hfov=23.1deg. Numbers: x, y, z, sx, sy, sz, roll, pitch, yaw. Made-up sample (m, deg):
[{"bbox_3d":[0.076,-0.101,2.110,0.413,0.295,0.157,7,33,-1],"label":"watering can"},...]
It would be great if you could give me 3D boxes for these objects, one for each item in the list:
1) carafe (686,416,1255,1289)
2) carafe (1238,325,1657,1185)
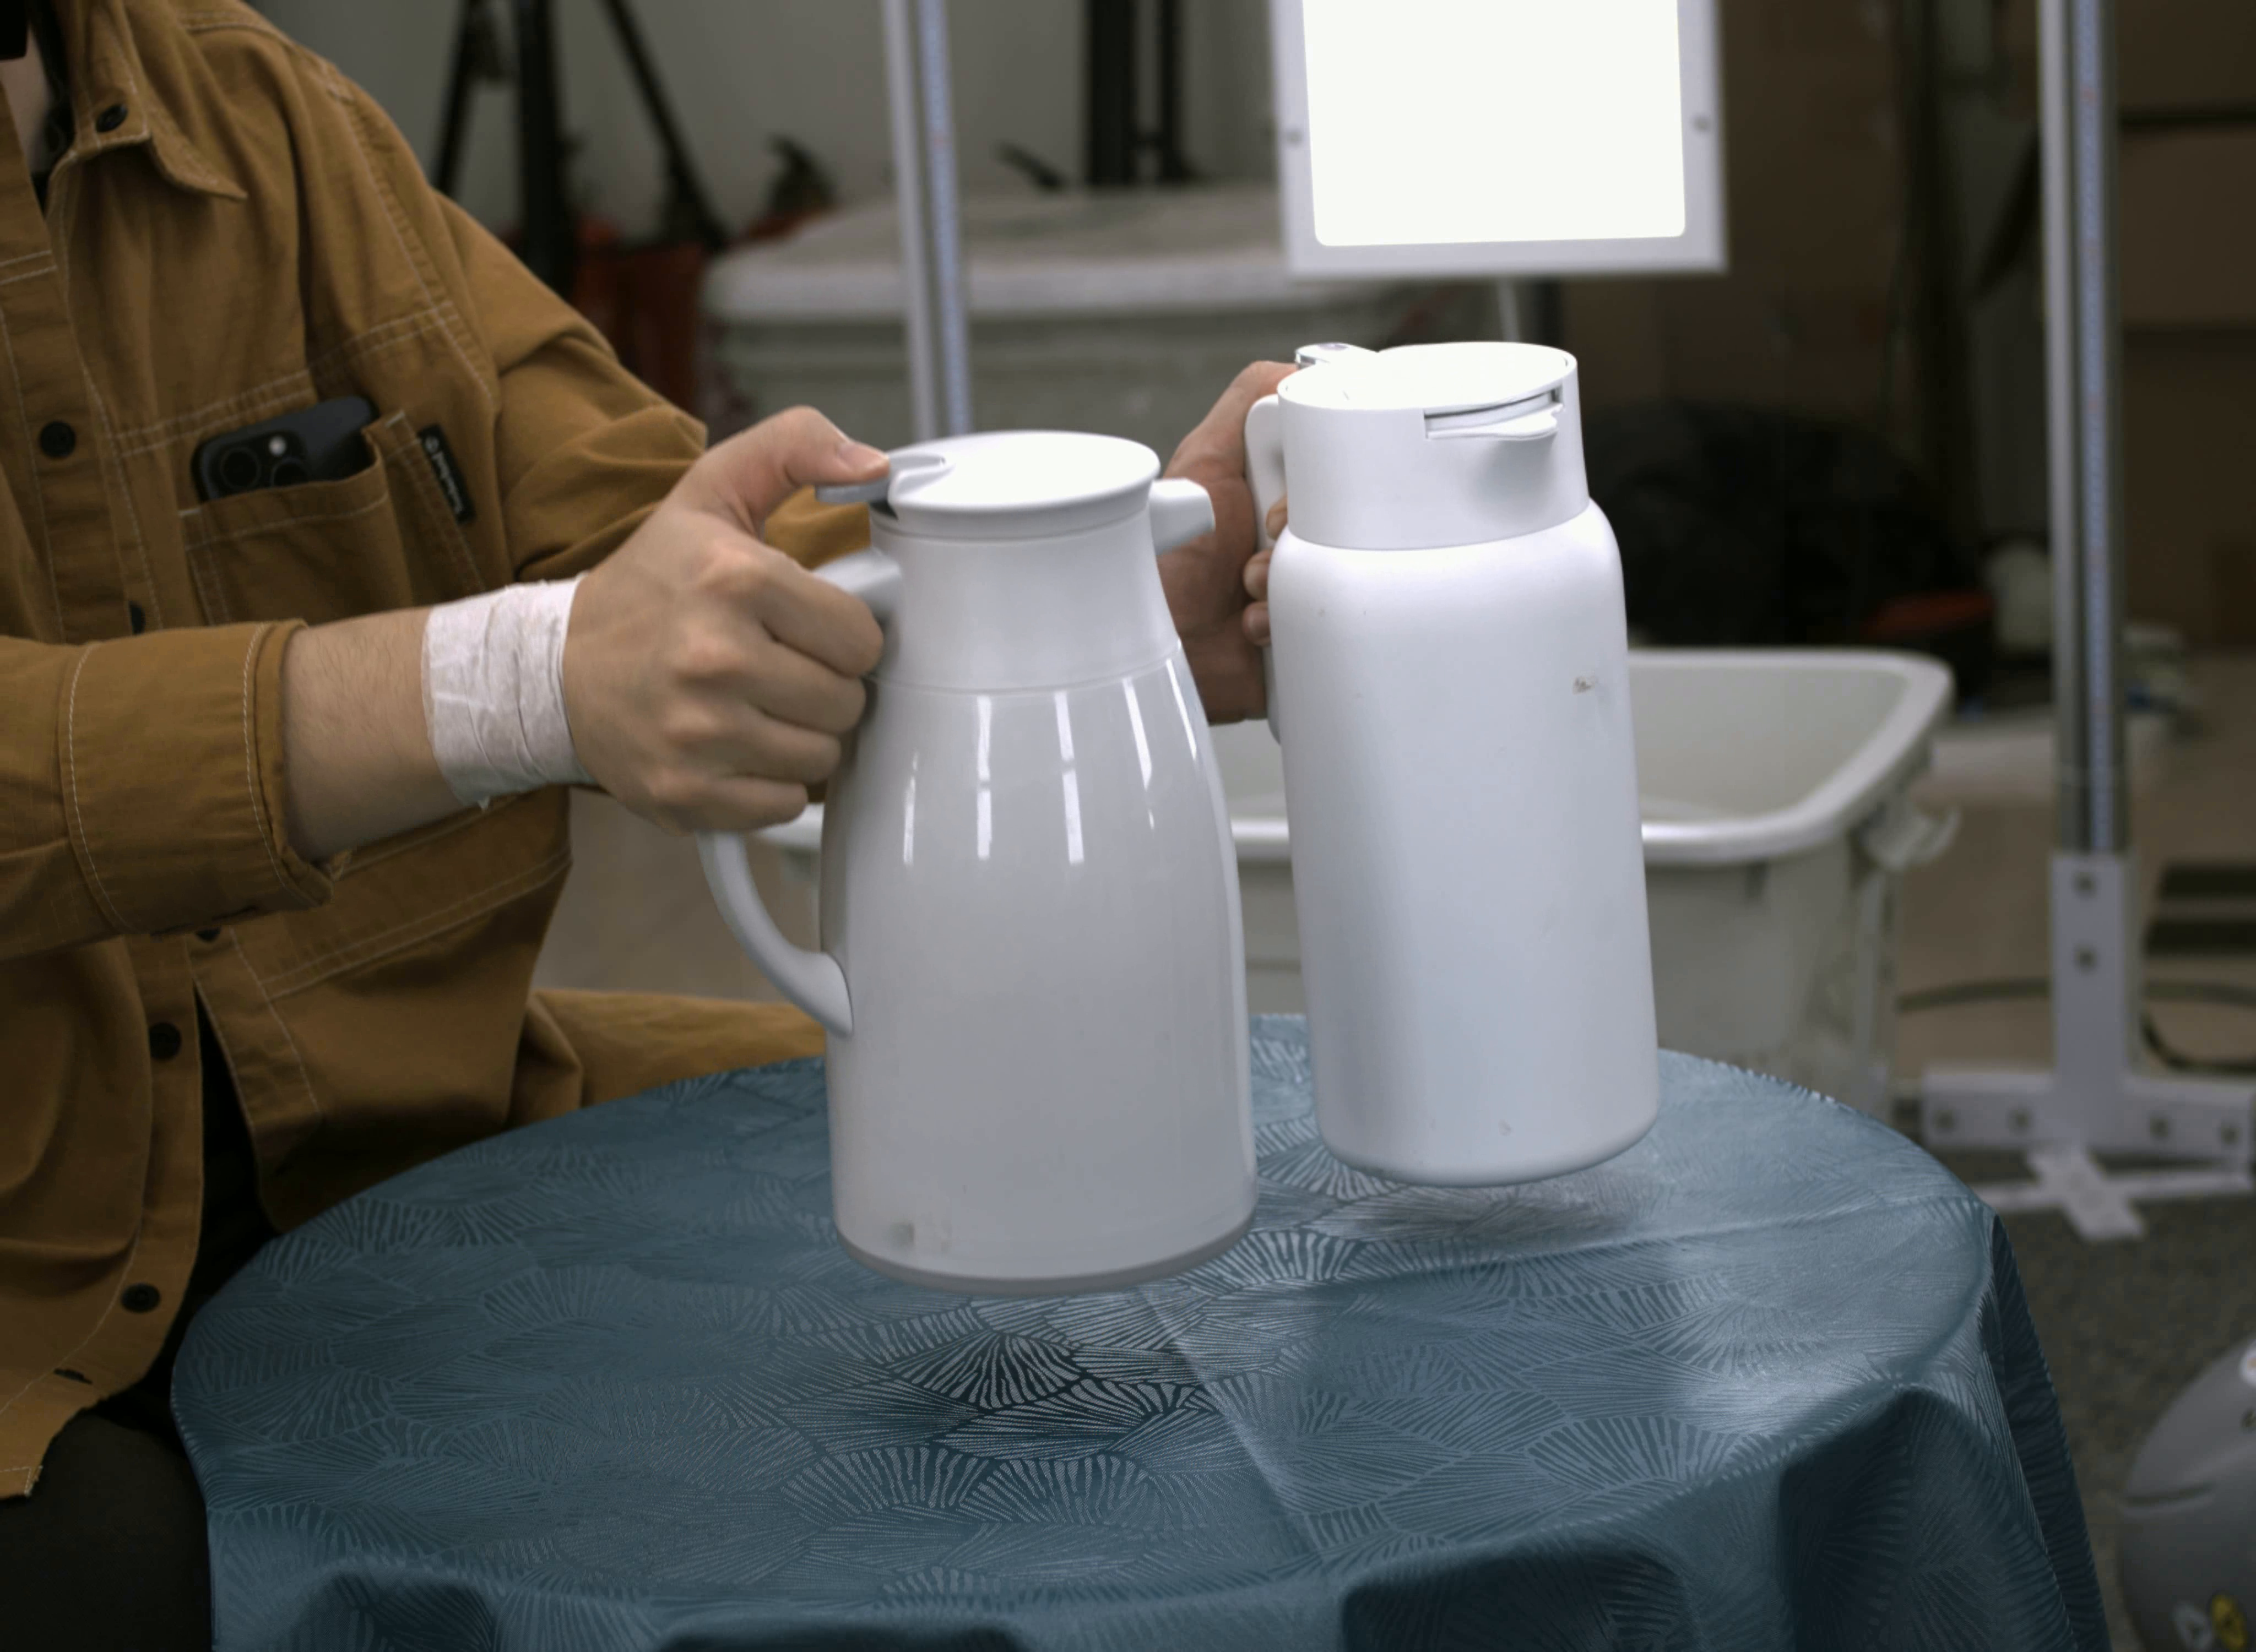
[{"bbox_3d":[-0.049,0.005,1.661,0.165,0.249,0.134,-10,18,-20],"label":"carafe"},{"bbox_3d":[0.099,-0.026,1.828,0.121,0.270,0.176,-16,18,-25],"label":"carafe"}]
